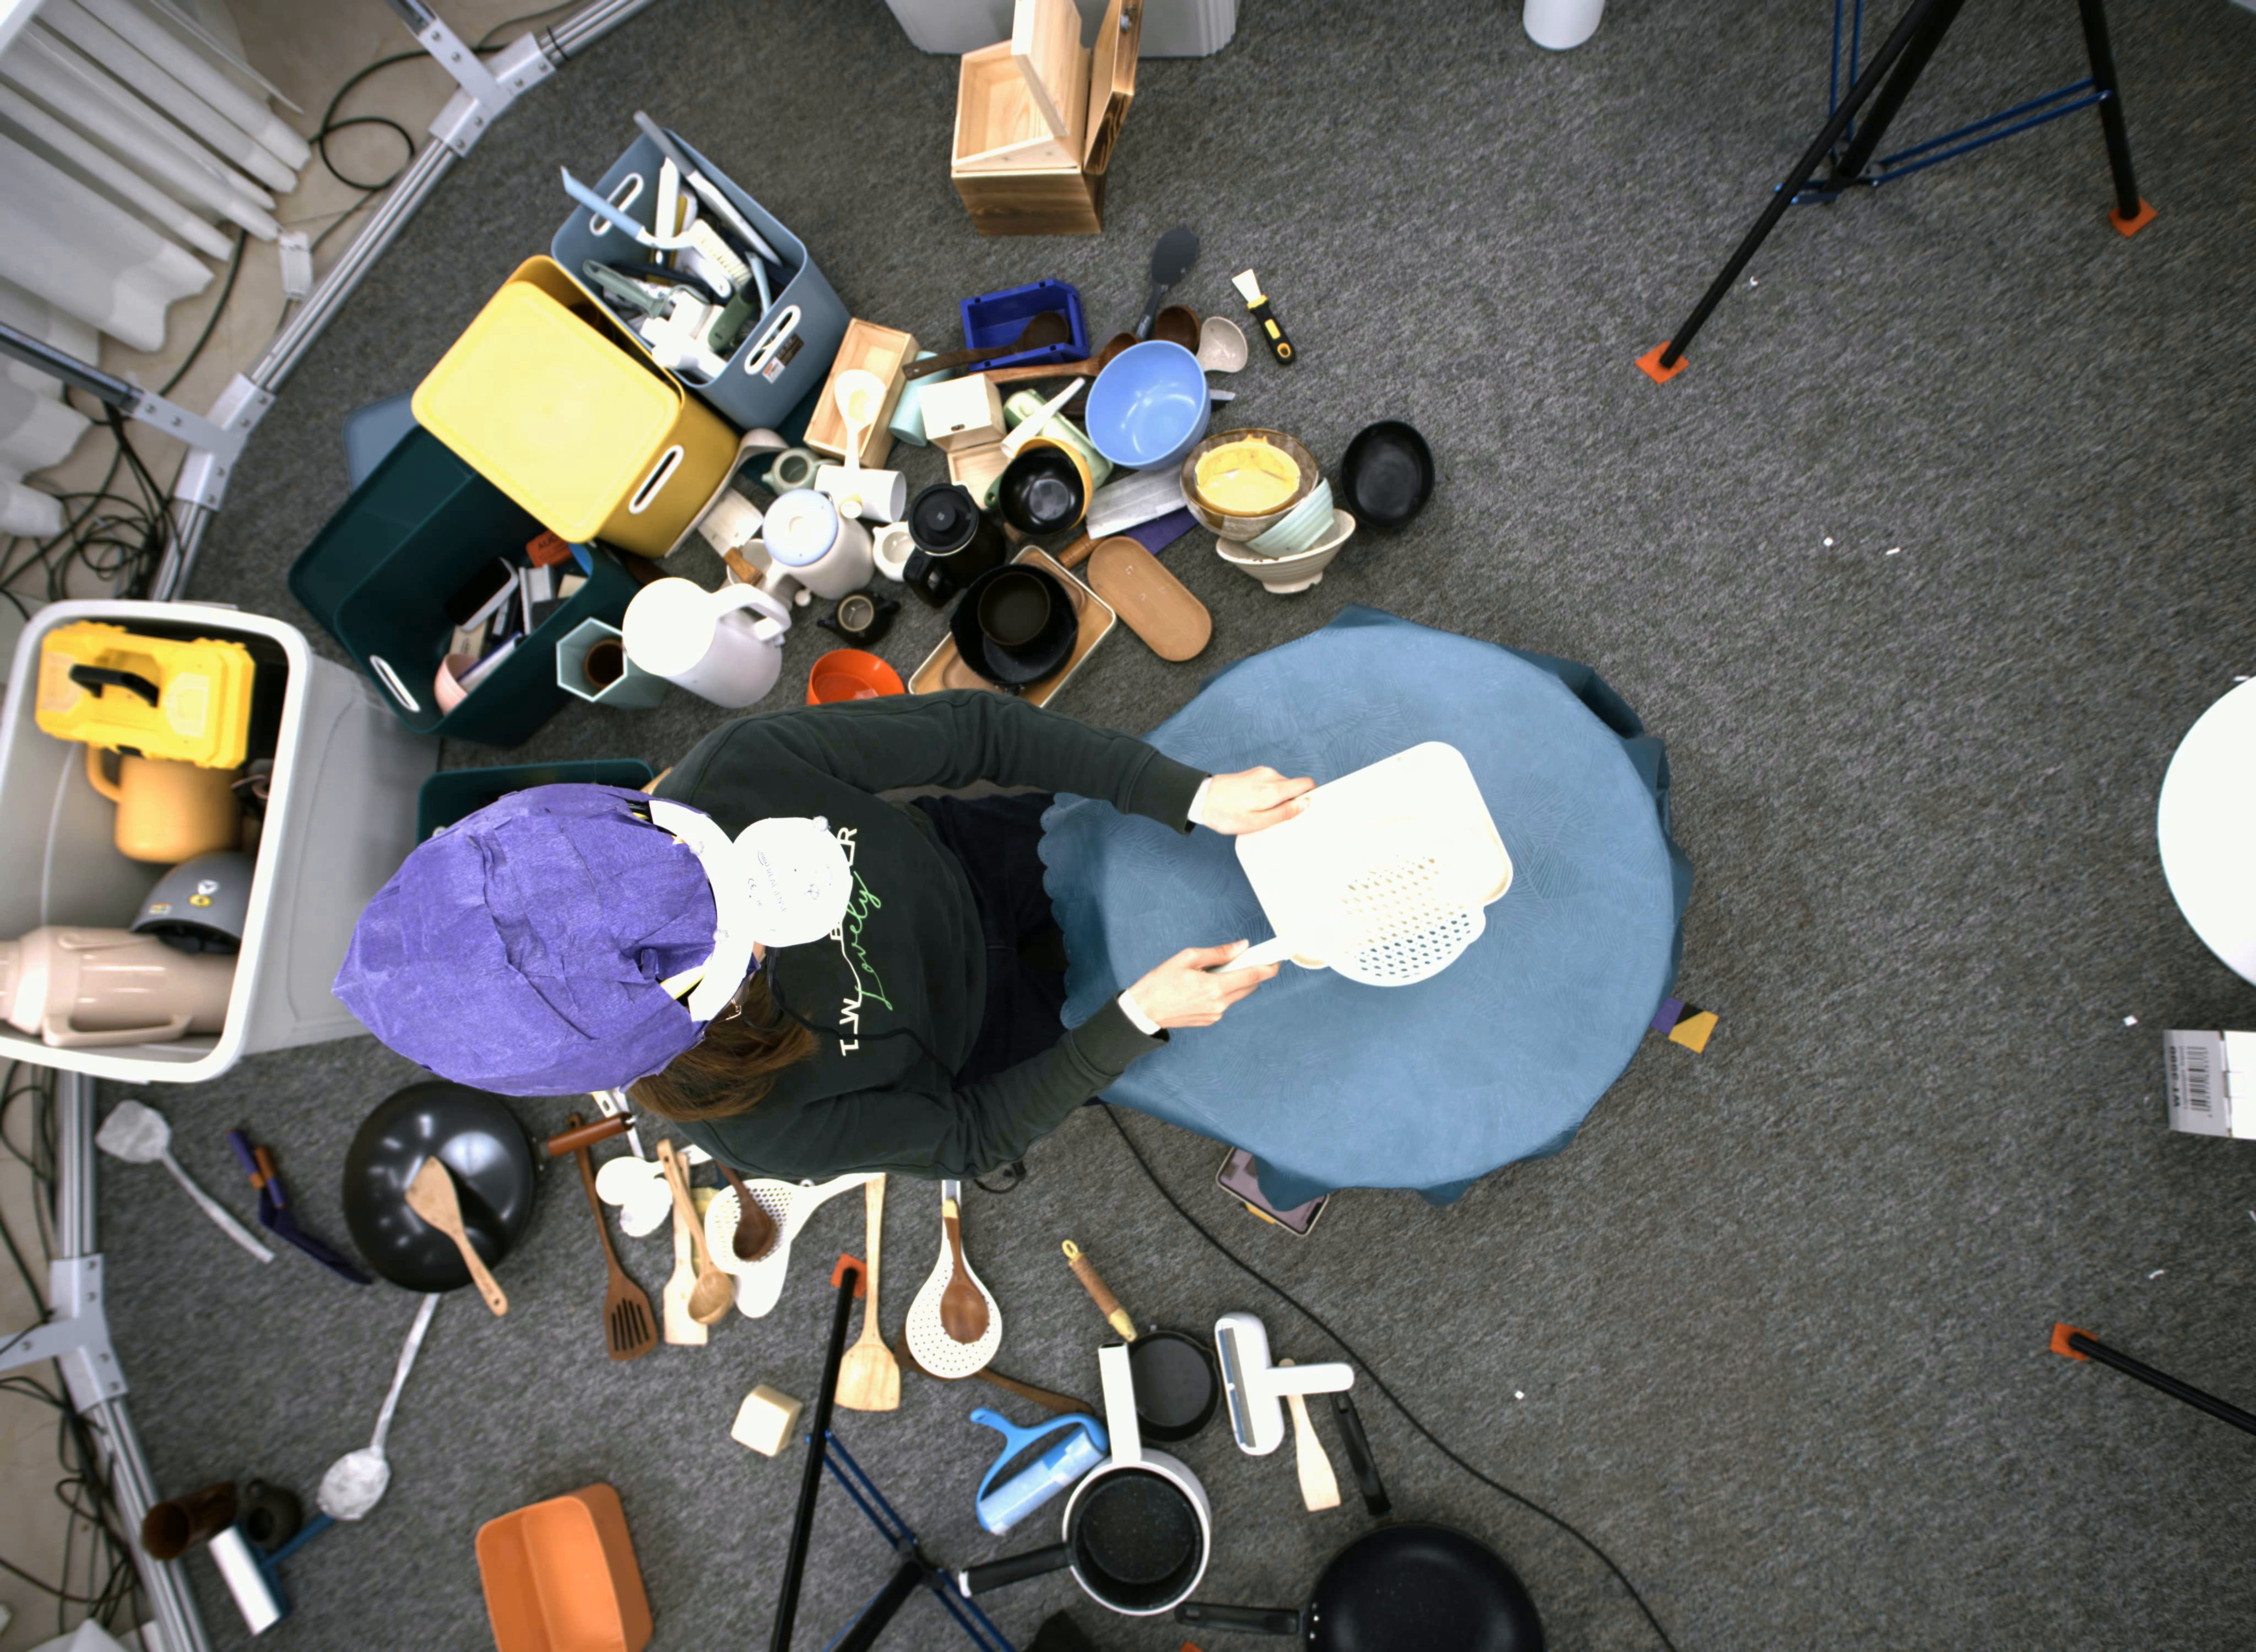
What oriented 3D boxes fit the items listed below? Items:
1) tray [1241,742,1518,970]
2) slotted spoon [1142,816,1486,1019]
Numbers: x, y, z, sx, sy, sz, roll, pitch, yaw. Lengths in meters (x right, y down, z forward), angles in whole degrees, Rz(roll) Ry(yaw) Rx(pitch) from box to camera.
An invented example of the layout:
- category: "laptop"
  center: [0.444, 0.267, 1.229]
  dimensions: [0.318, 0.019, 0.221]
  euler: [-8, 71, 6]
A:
- category: "tray"
  center: [0.243, 0.030, 1.345]
  dimensions: [0.242, 0.017, 0.172]
  euler: [-24, 100, 20]
- category: "slotted spoon"
  center: [0.169, 0.112, 1.325]
  dimensions: [0.361, 0.076, 0.165]
  euler: [-19, 53, 12]
